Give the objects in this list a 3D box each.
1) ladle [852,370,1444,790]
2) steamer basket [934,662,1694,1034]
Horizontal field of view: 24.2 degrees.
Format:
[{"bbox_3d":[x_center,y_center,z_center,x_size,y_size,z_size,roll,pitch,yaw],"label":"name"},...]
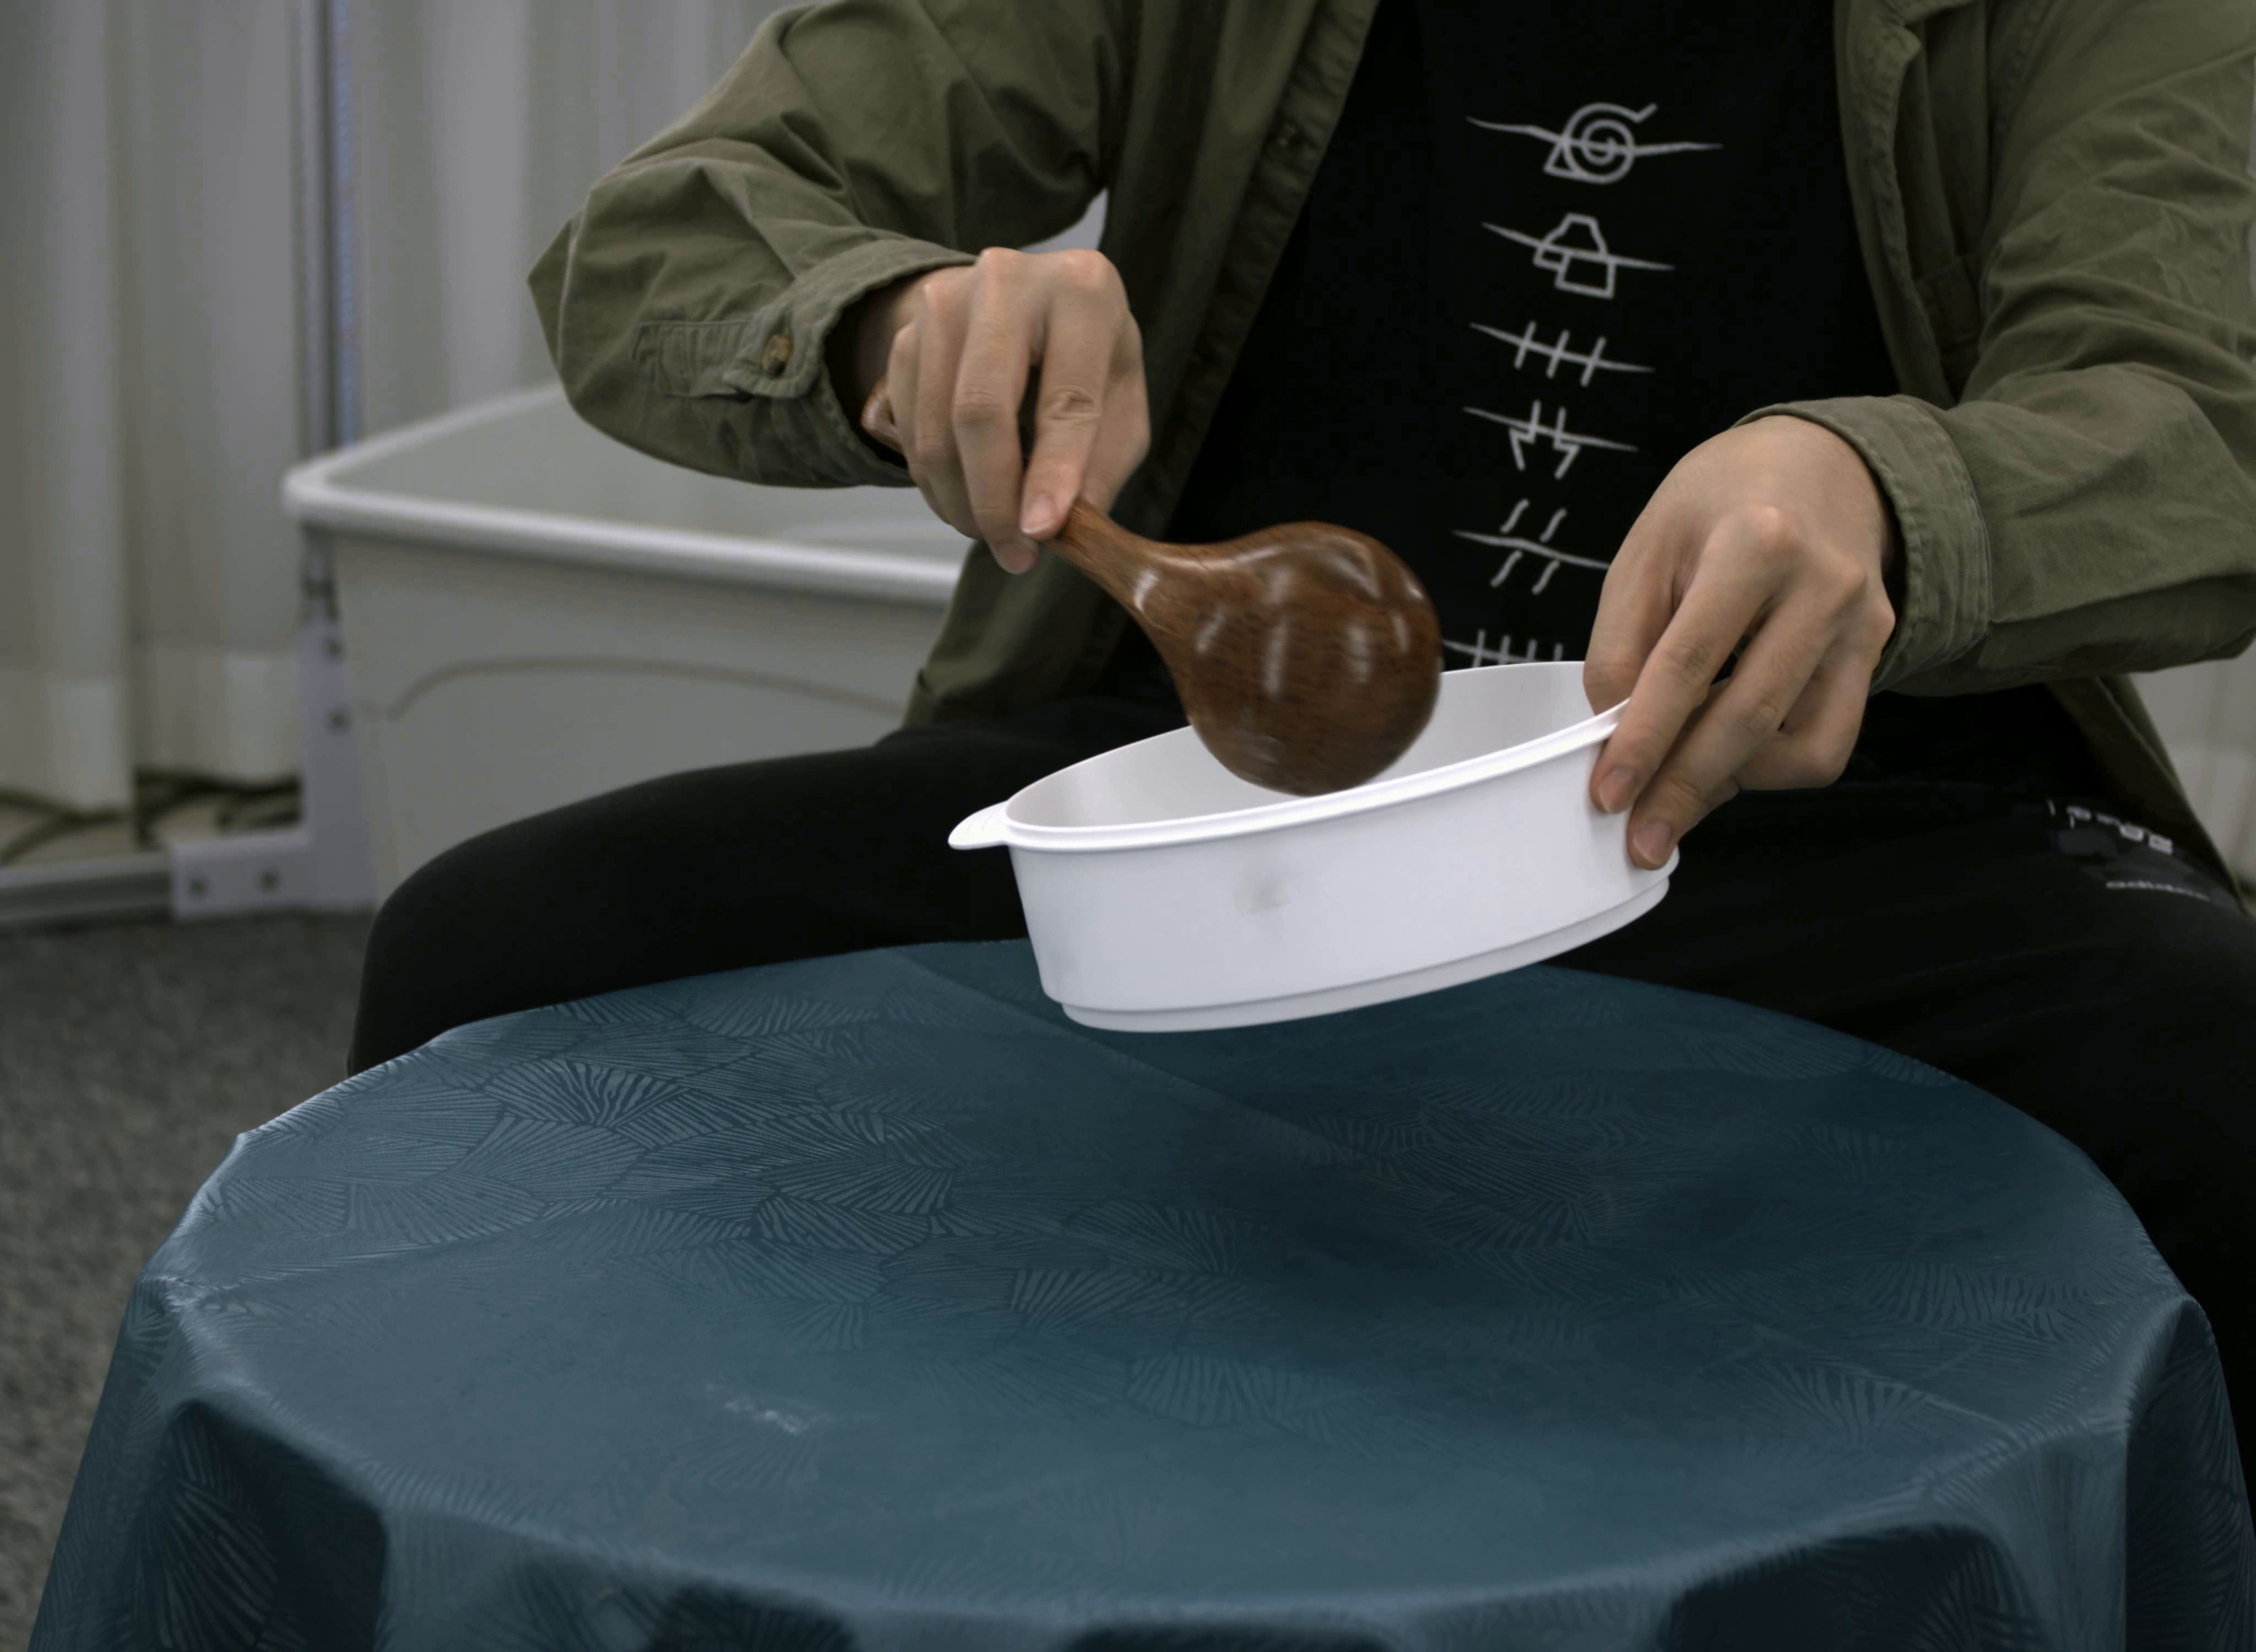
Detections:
[{"bbox_3d":[0.004,-0.088,1.638,0.077,0.082,0.270,26,6,-34],"label":"ladle"},{"bbox_3d":[0.060,0.007,1.568,0.229,0.070,0.201,-10,10,9],"label":"steamer basket"}]
